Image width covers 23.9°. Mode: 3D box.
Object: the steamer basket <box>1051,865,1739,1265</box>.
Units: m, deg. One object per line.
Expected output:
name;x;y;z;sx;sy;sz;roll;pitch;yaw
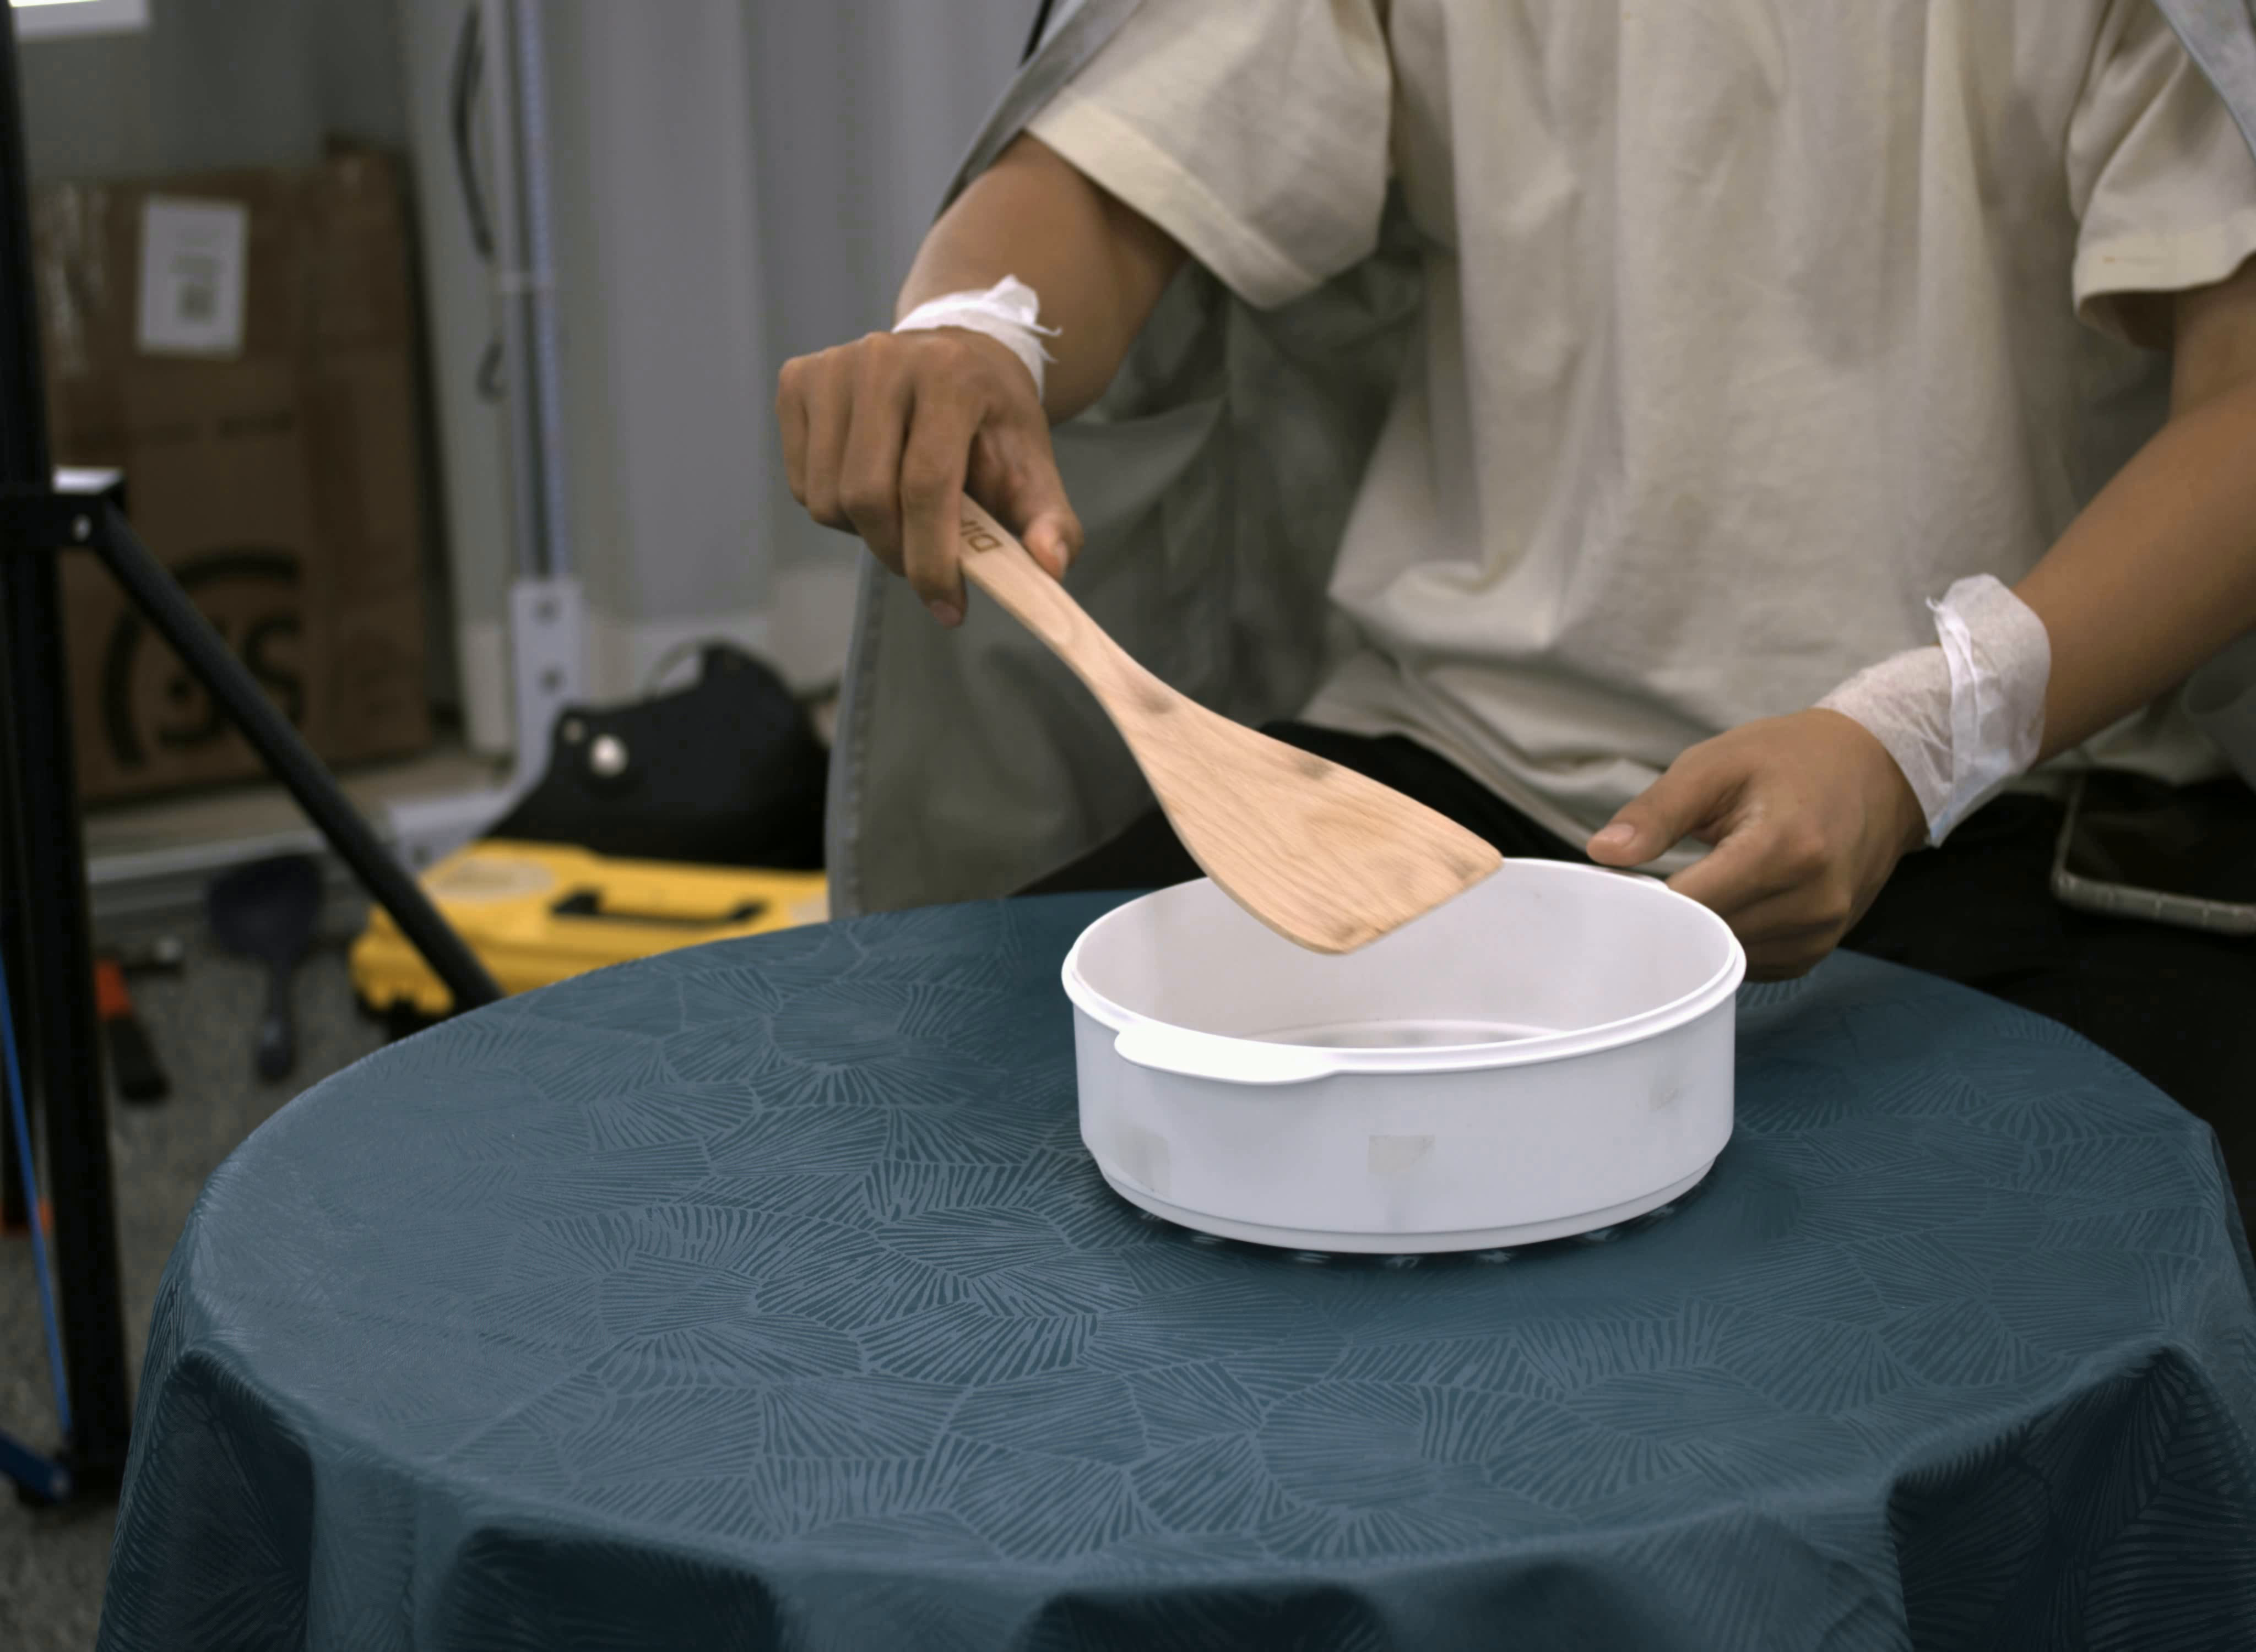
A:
steamer basket;0.078;0.069;1.559;0.206;0.069;0.226;10;19;34

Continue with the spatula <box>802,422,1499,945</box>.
spatula;-0.006;-0.052;1.644;0.078;0.016;0.335;-19;40;-29
